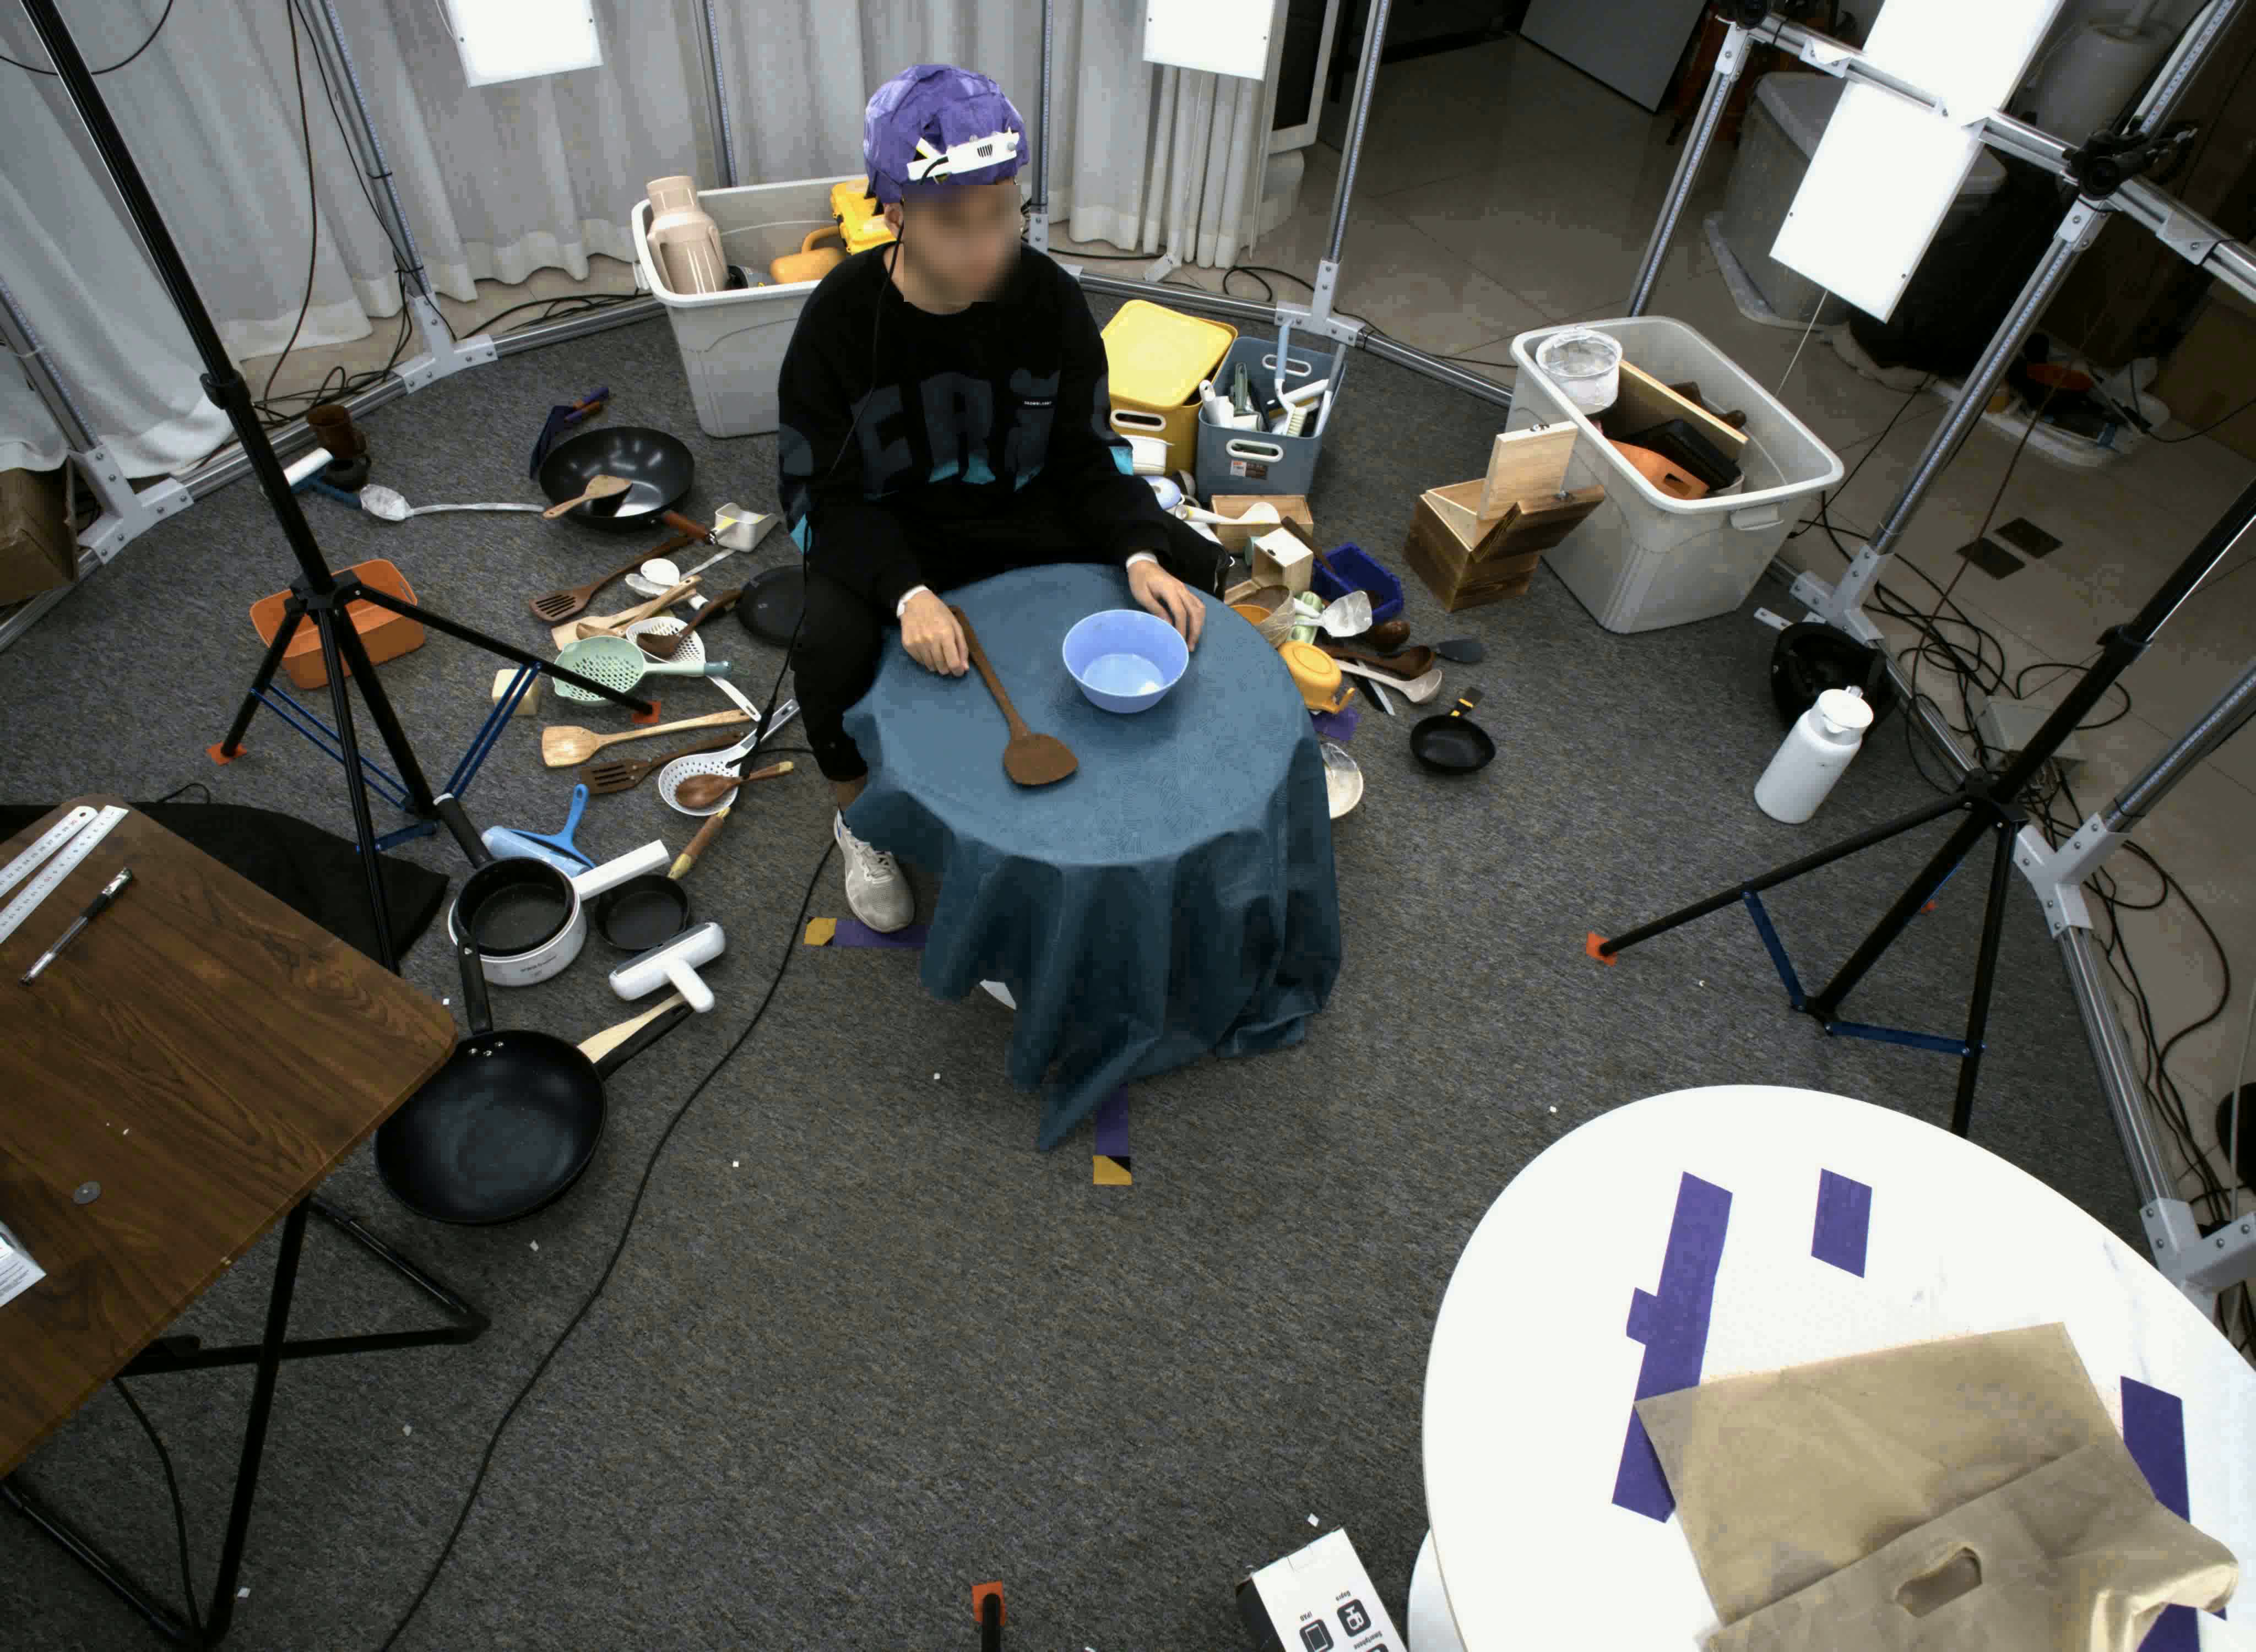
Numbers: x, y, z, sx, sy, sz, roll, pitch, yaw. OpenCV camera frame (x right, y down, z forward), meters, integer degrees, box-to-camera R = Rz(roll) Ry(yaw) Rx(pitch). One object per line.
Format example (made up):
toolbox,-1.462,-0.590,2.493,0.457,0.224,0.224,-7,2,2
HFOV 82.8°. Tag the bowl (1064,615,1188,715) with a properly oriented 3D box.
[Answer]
bowl,-0.004,-0.222,1.832,0.176,0.068,0.180,2,47,-2

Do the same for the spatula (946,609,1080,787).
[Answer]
spatula,-0.184,-0.192,1.831,0.096,0.015,0.395,-17,52,-19
